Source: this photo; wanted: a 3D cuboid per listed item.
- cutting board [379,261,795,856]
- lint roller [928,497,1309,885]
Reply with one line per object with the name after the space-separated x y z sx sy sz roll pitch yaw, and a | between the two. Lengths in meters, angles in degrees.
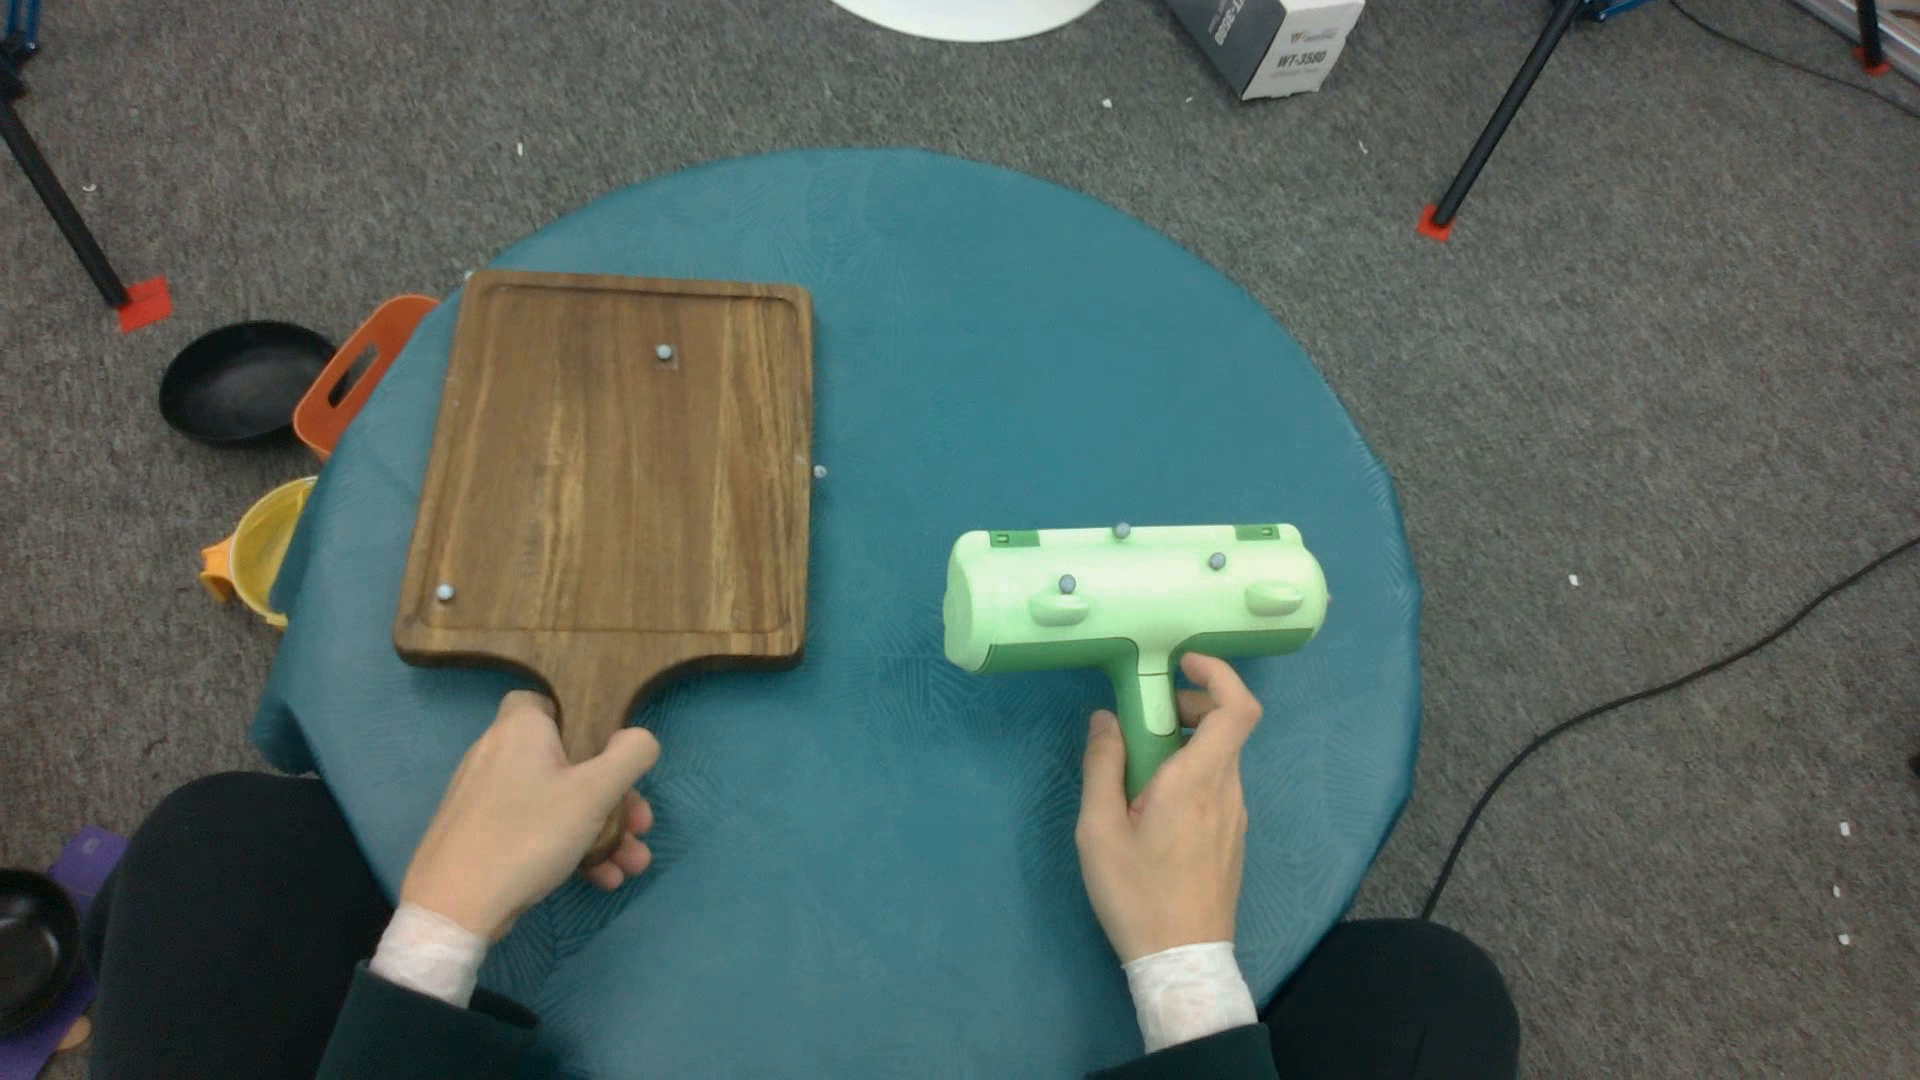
-0.187 -0.010 0.711 0.201 0.023 0.353 -1 58 -8 | cutting board
0.092 0.069 0.662 0.199 0.082 0.183 -3 72 -23 | lint roller
